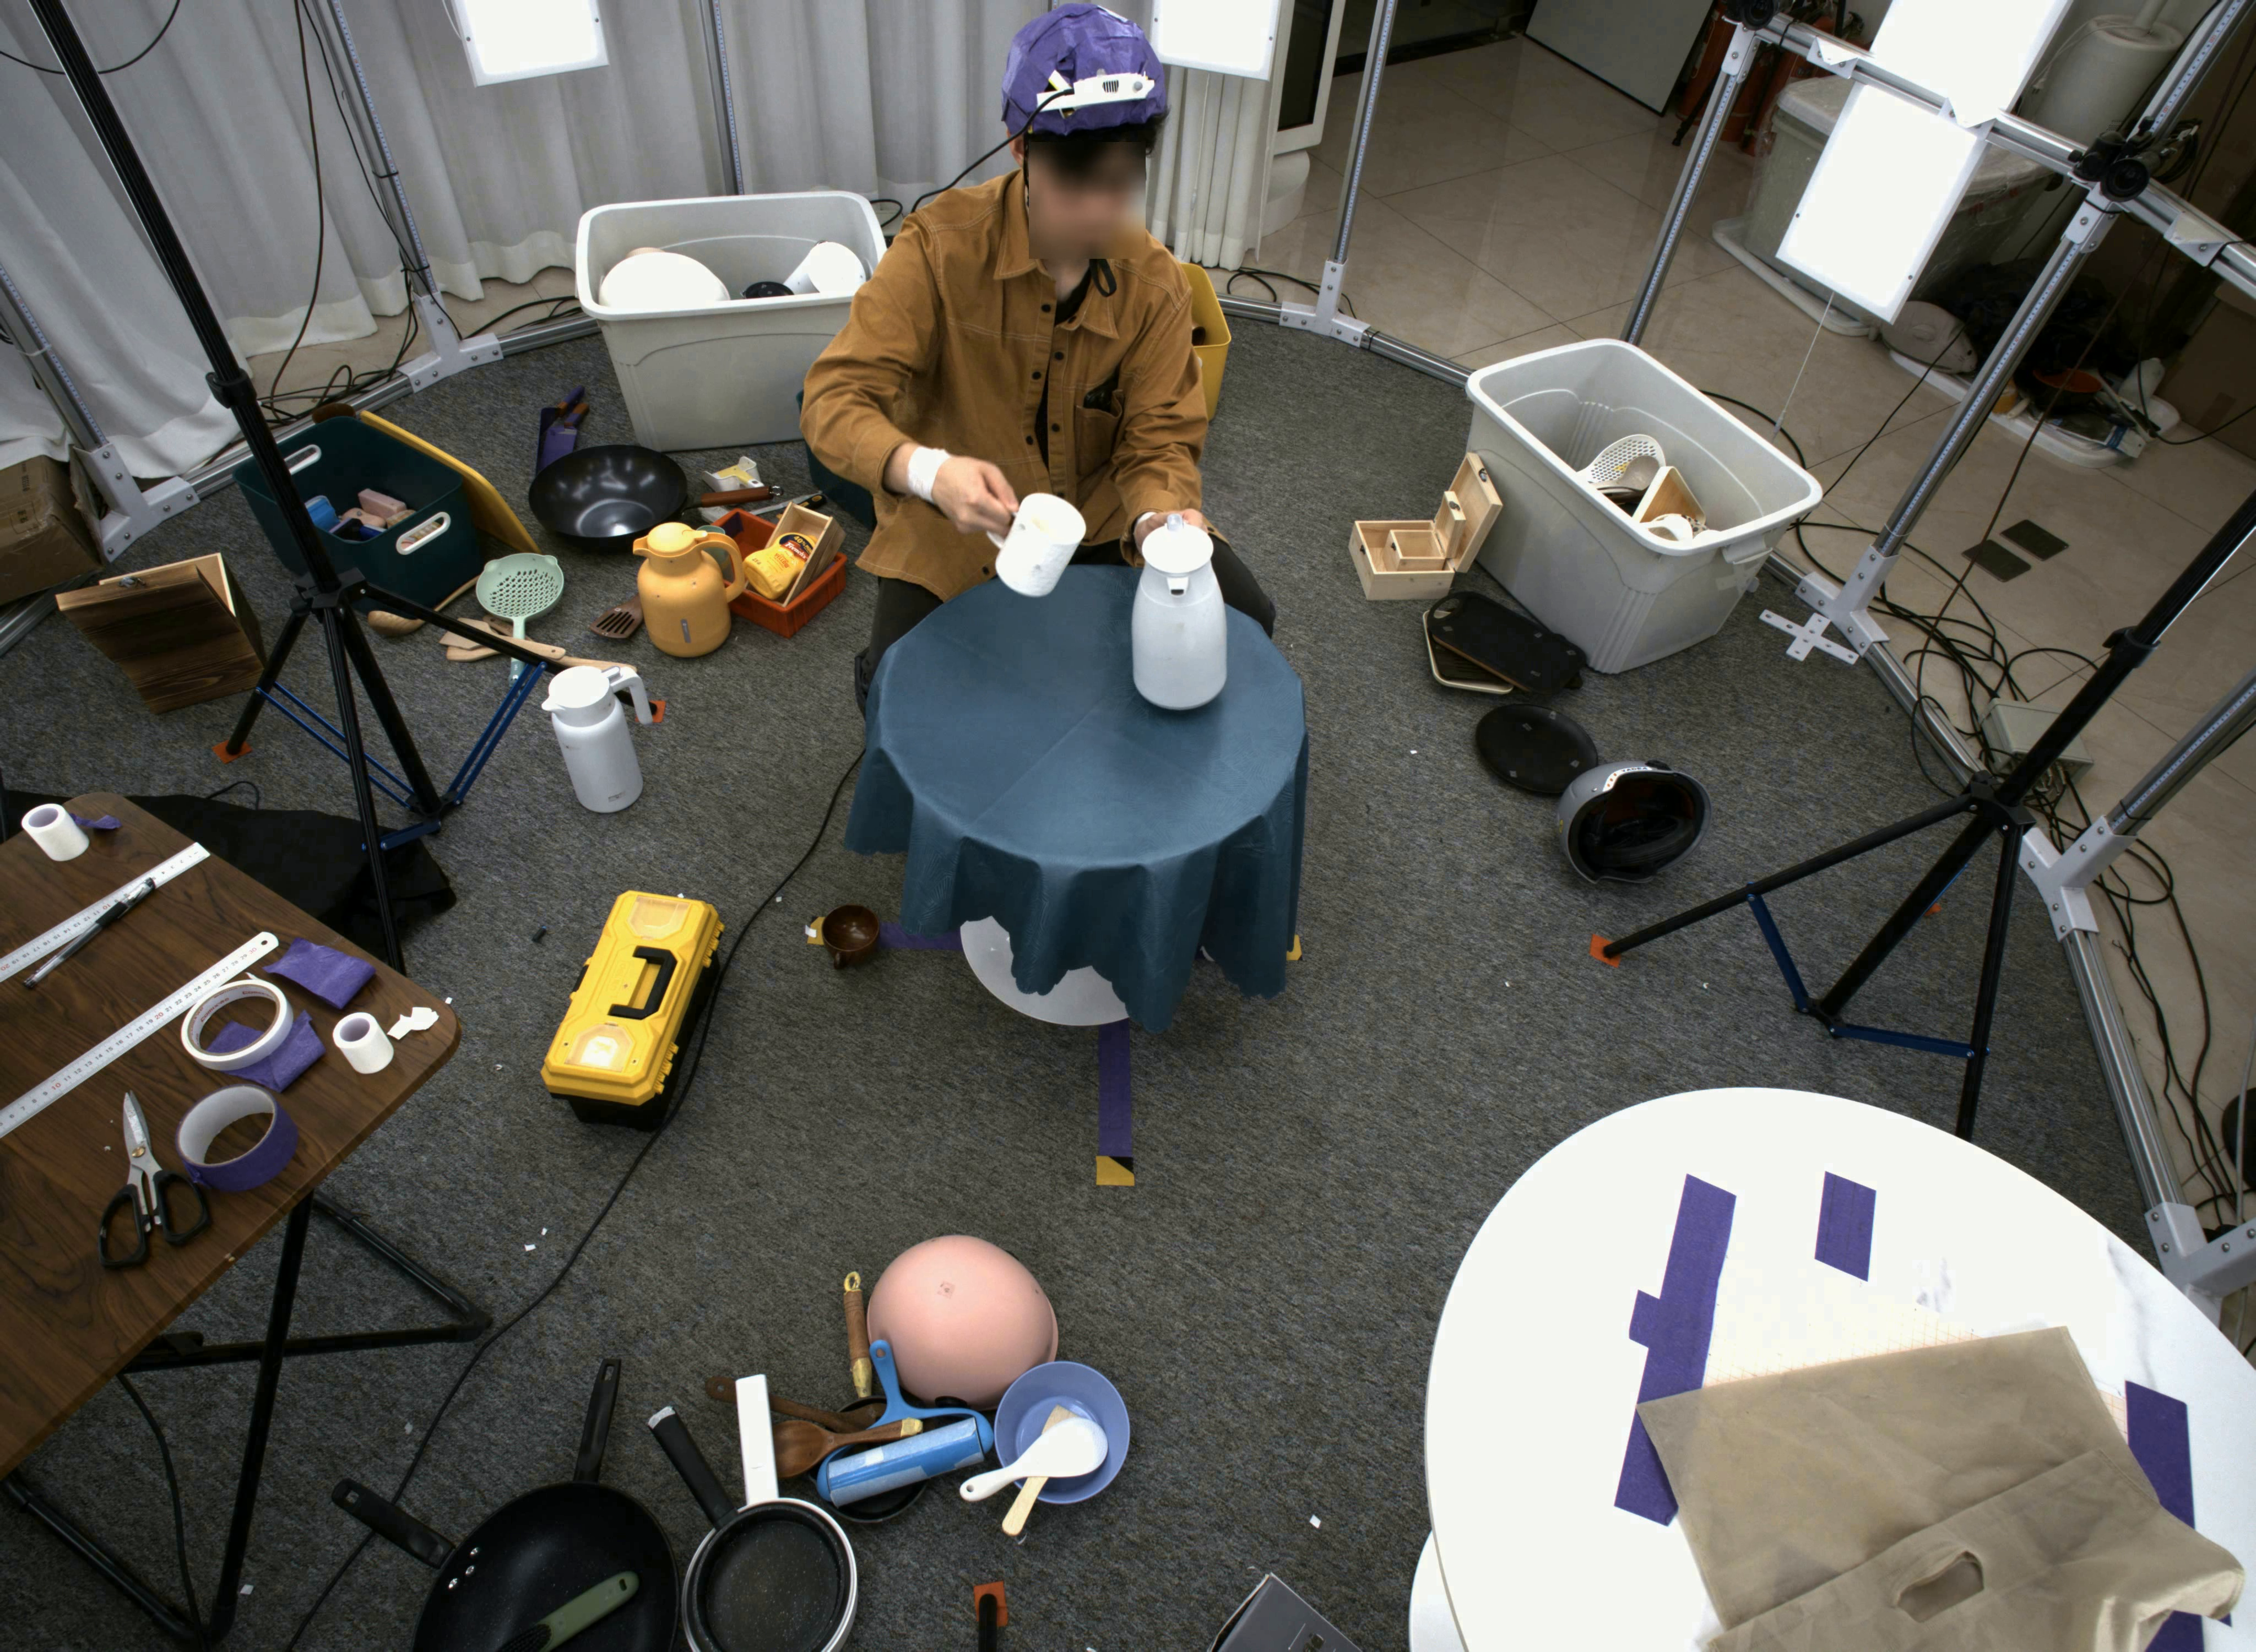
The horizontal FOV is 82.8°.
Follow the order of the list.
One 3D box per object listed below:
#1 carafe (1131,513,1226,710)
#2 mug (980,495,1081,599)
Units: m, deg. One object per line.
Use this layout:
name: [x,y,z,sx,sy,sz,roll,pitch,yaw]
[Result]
carafe: [0.066,-0.301,1.739,0.132,0.242,0.172,-2,52,3]
mug: [-0.131,-0.356,1.618,0.118,0.100,0.087,28,46,-5]
